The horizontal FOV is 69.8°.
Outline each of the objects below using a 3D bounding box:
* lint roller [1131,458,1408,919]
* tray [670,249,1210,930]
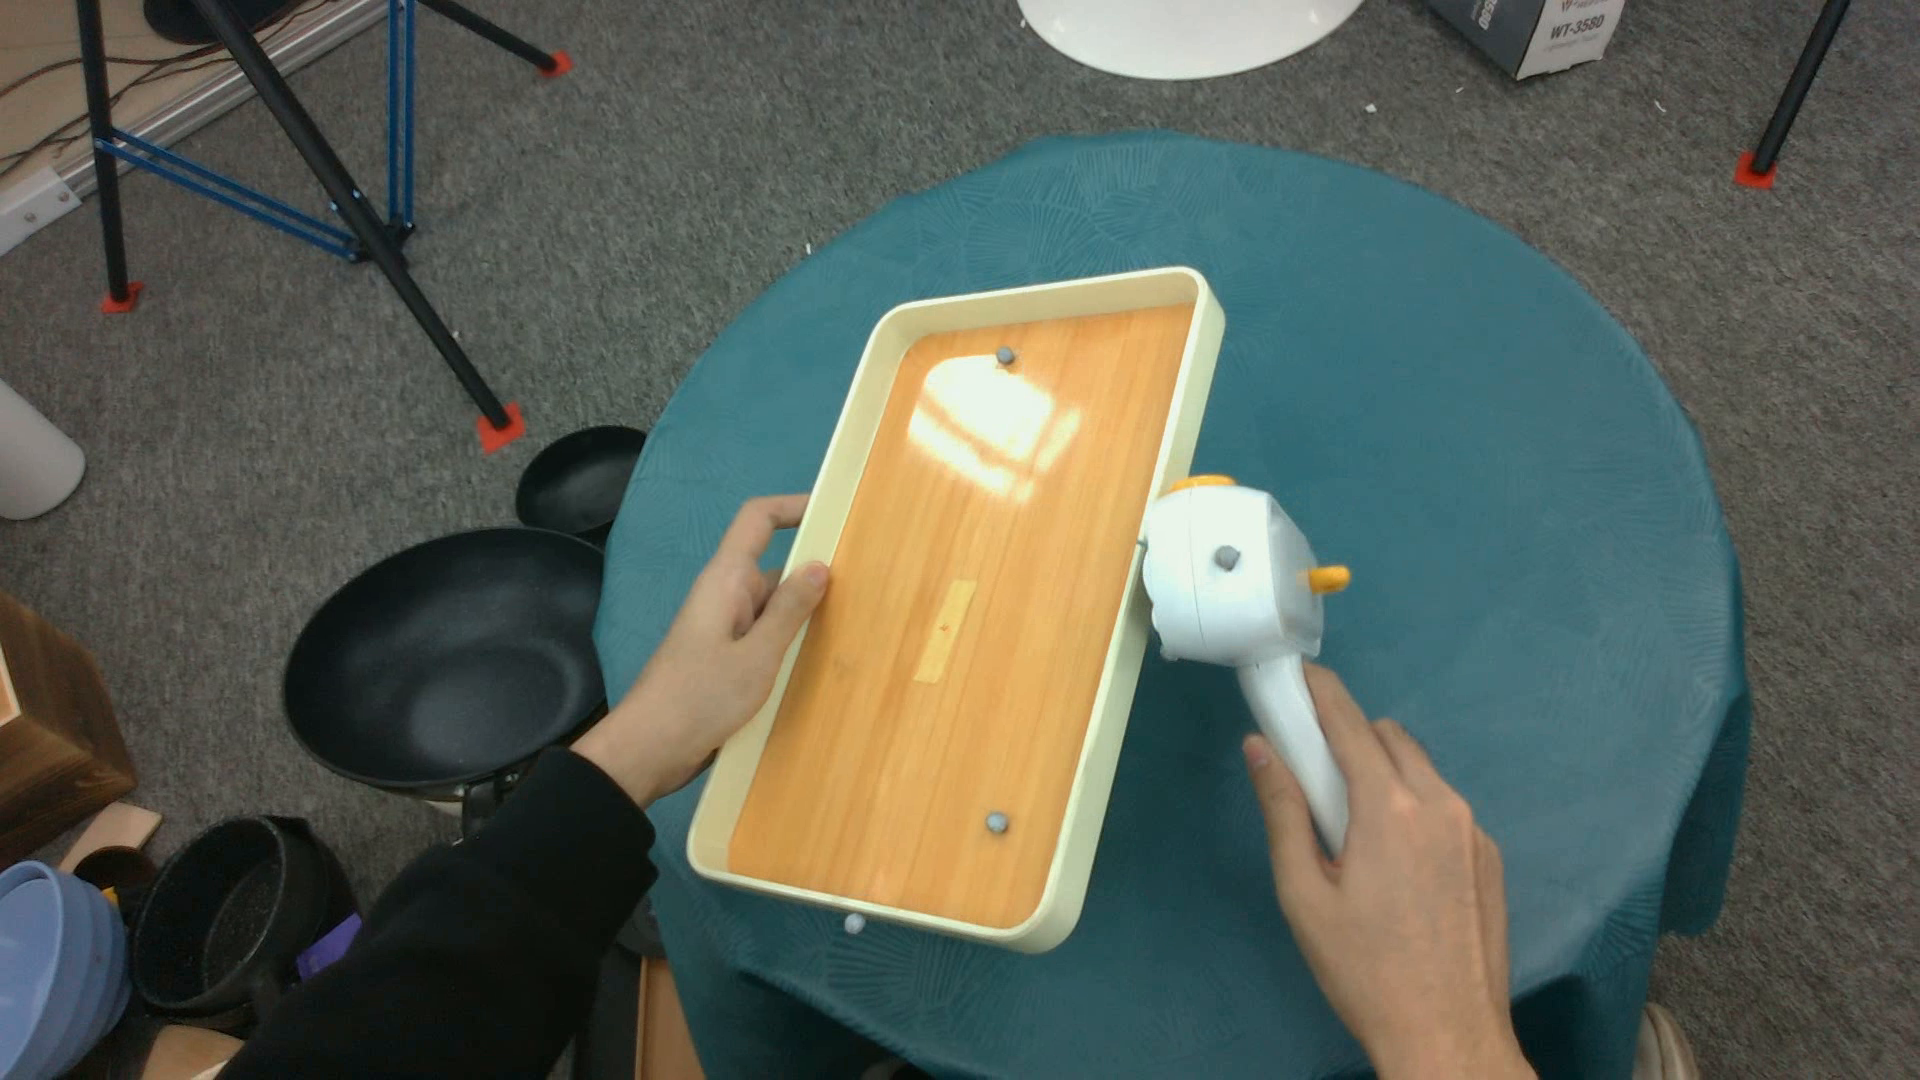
[{"bbox_3d":[0.131,0.064,0.570,0.074,0.193,0.192,-15,83,12],"label":"lint roller"},{"bbox_3d":[-0.007,0.008,0.607,0.191,0.027,0.301,1,63,35],"label":"tray"}]
